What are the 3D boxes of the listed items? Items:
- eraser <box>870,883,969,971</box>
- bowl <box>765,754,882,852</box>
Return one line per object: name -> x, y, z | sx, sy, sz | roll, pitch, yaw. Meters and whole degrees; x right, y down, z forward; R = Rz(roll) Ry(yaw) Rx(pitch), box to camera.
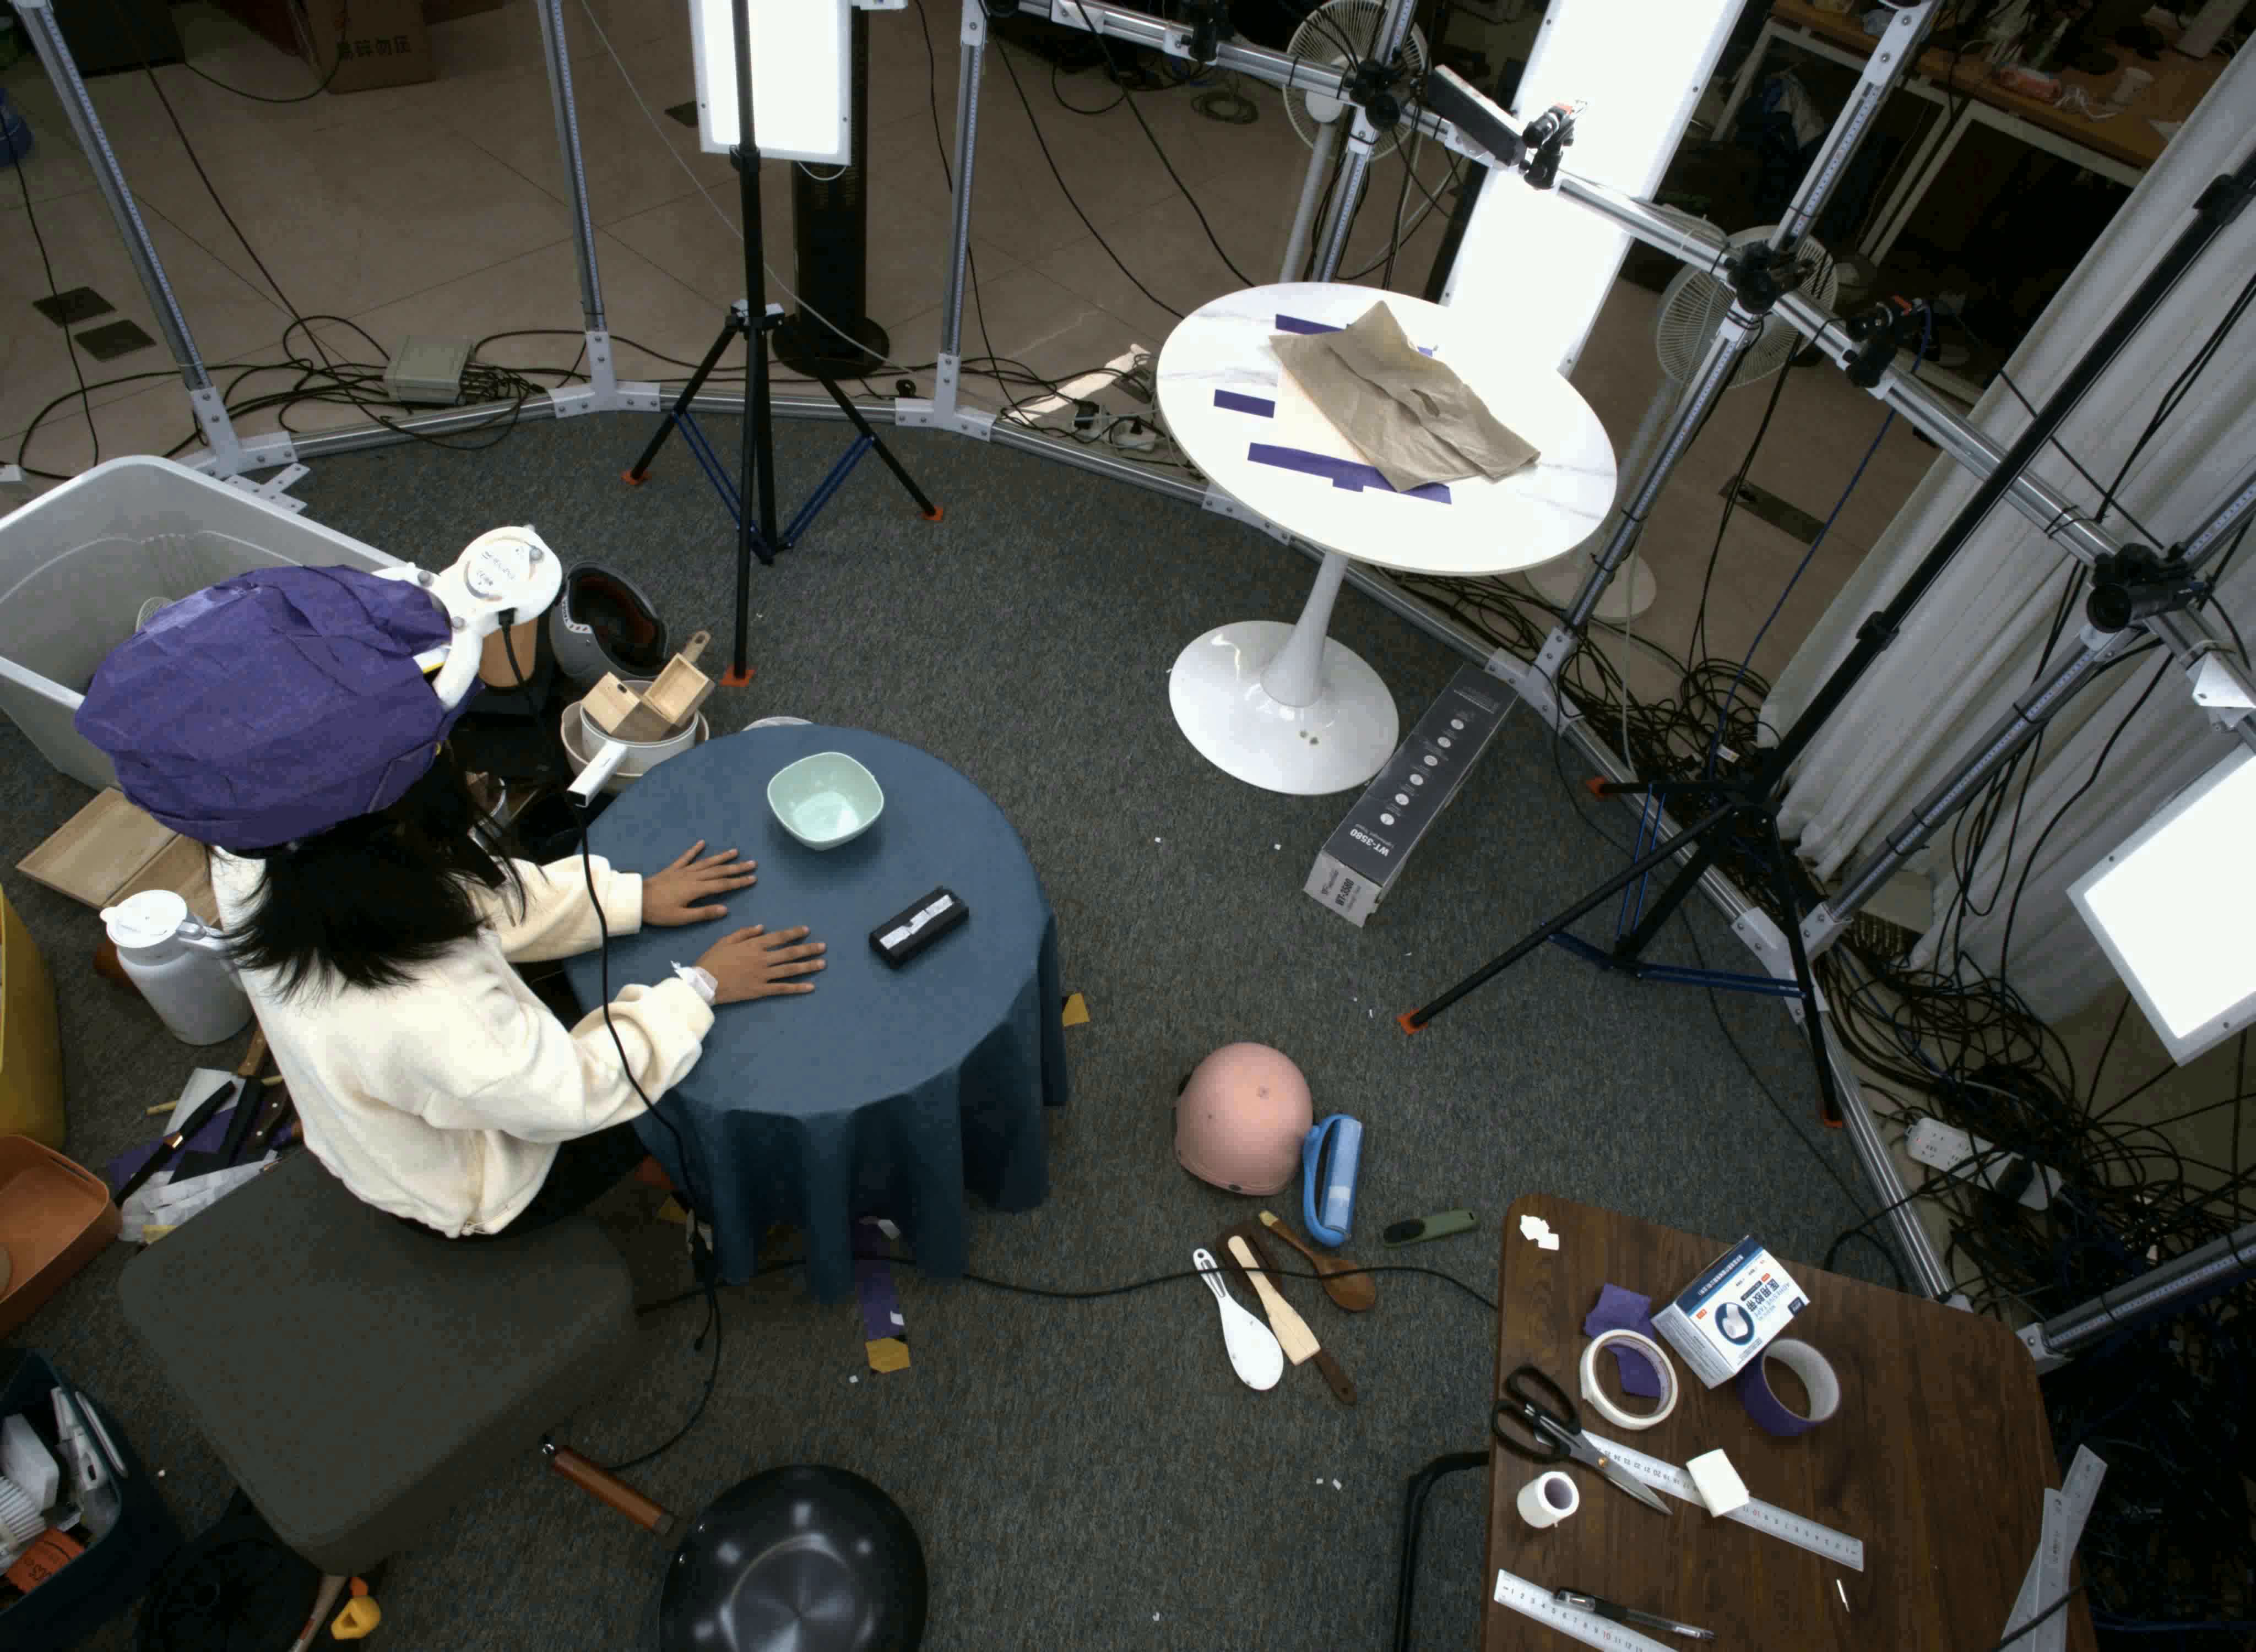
eraser -> -0.263, 0.125, 1.651 | 0.052, 0.031, 0.125 | 39, 56, 18
bowl -> -0.399, -0.022, 1.706 | 0.151, 0.060, 0.148 | 7, 50, -7
